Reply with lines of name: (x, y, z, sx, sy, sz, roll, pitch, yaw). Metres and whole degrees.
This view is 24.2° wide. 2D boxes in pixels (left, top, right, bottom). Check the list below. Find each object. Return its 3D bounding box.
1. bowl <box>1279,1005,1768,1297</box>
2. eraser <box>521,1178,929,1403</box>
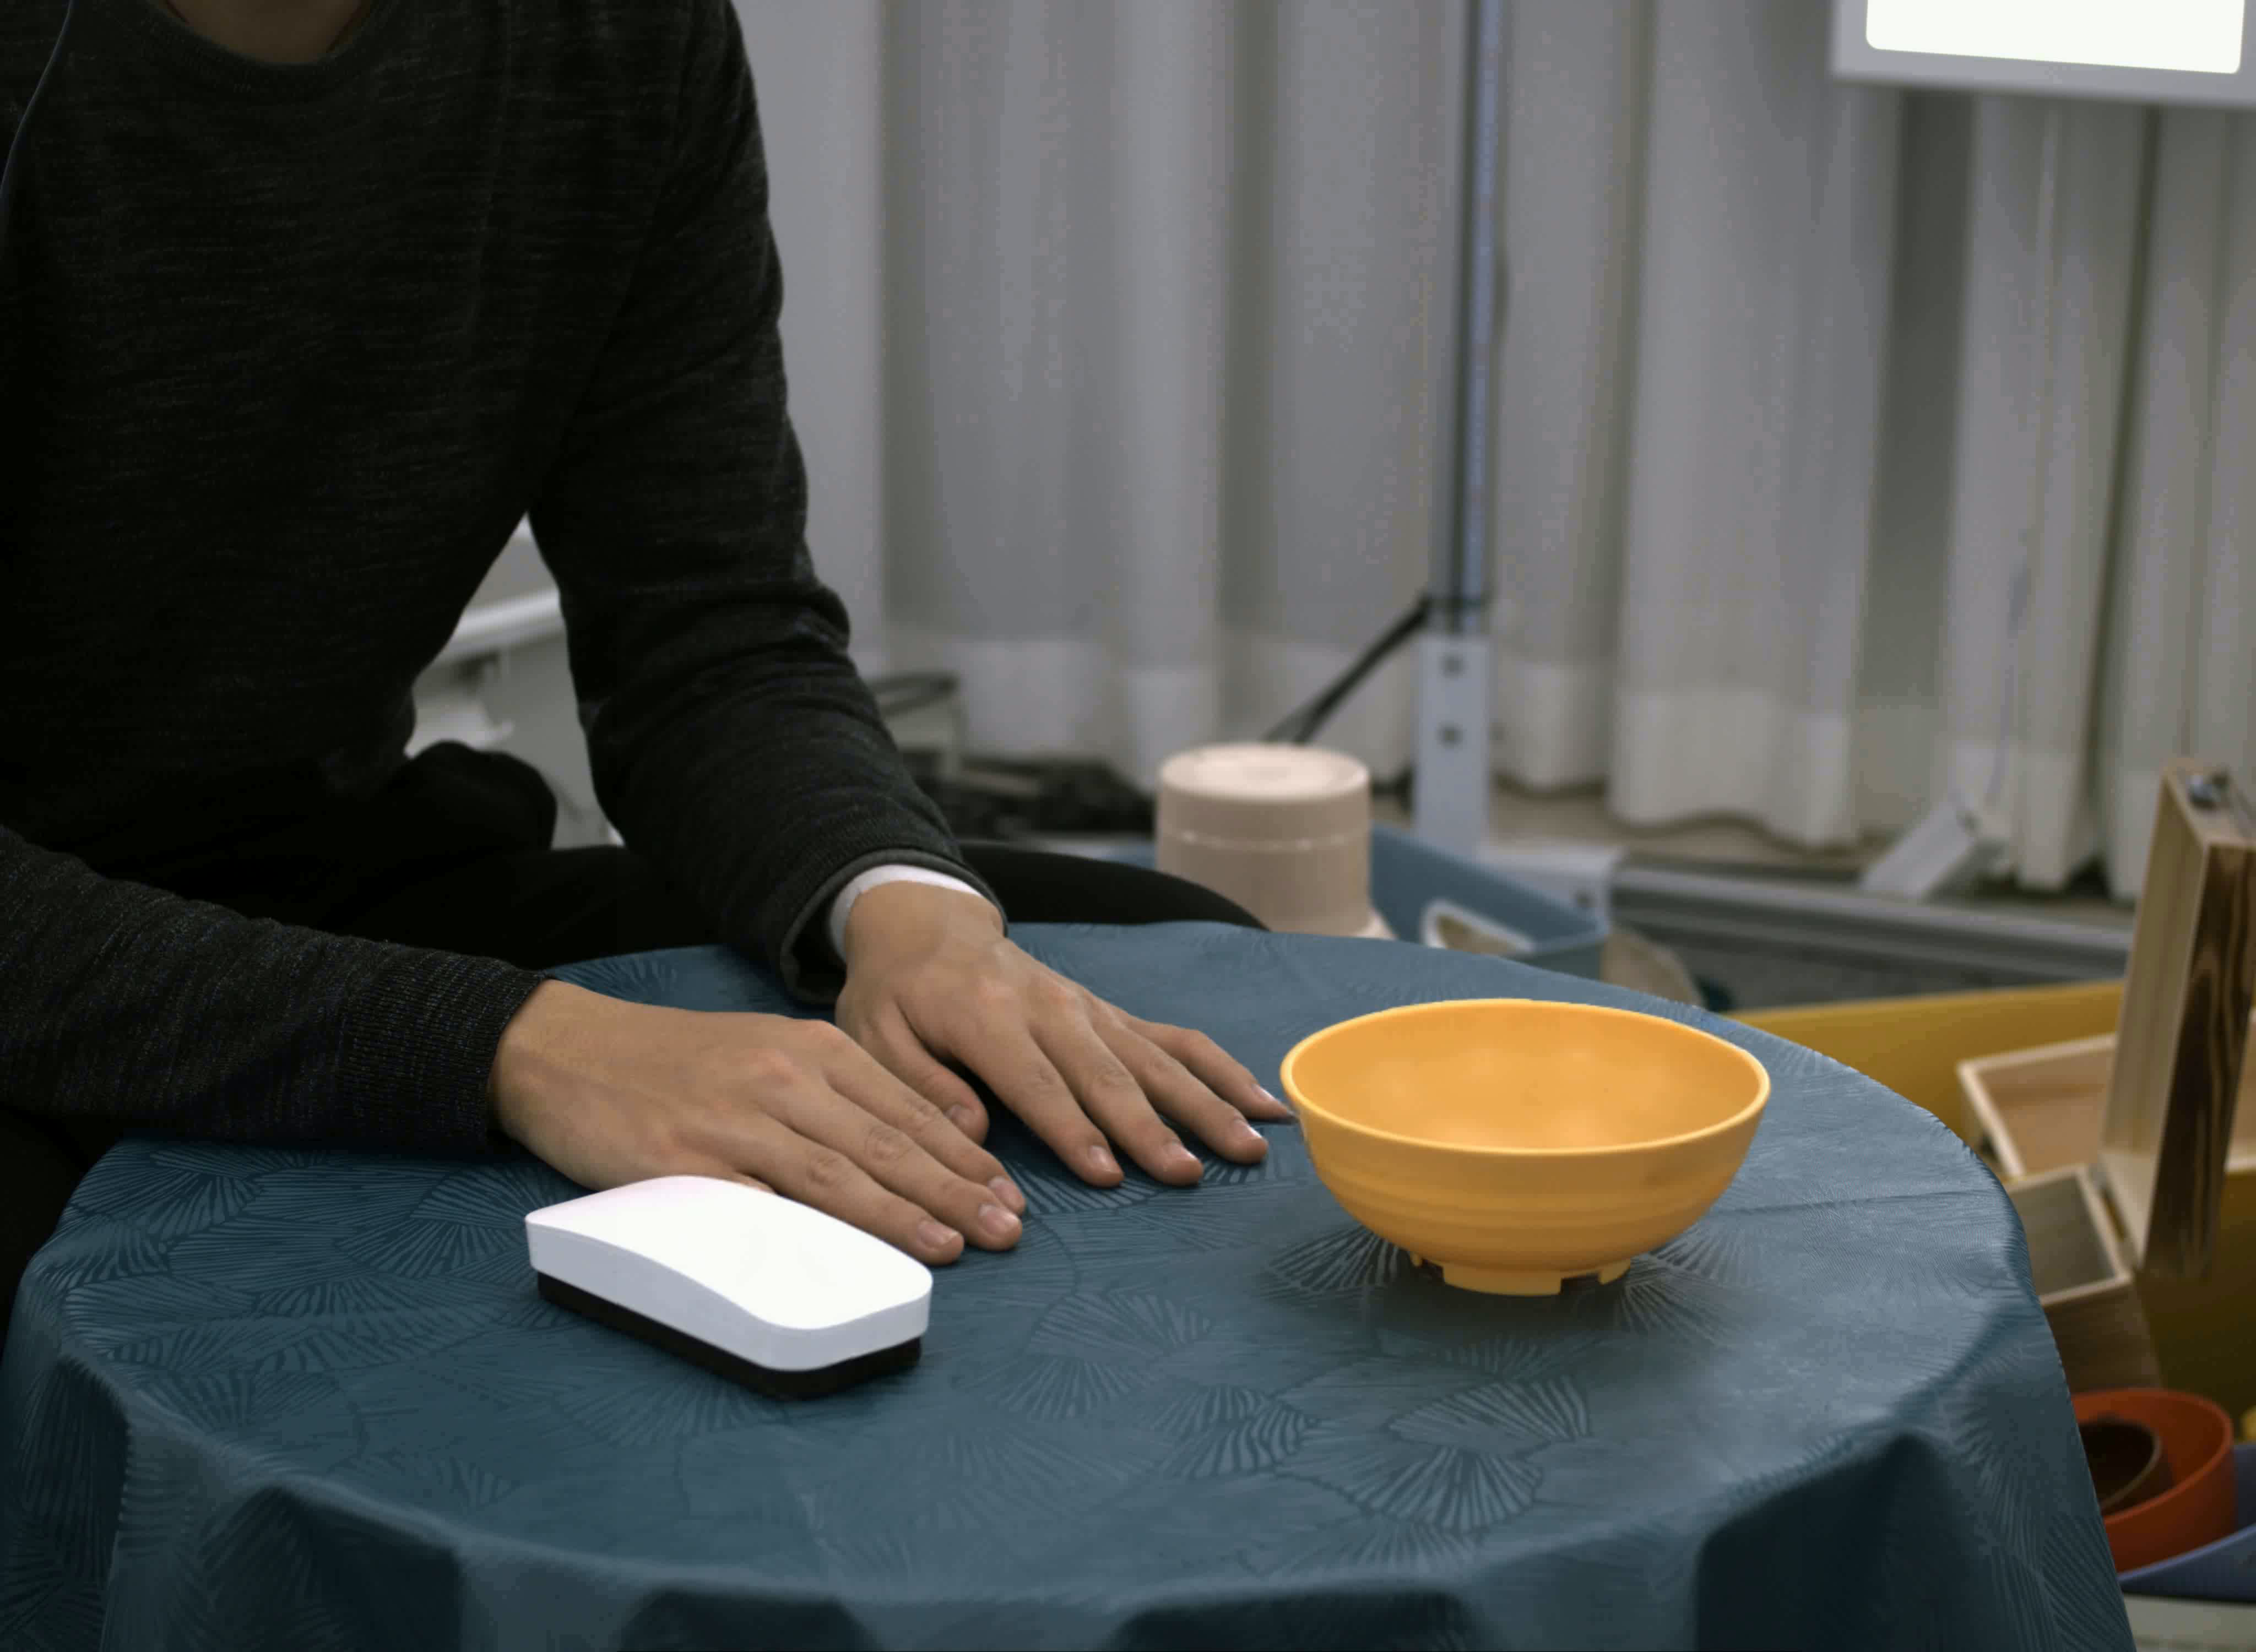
bowl: (0.115, 0.100, 1.558, 0.145, 0.060, 0.144, 2, 14, 0)
eraser: (-0.115, 0.128, 1.502, 0.064, 0.035, 0.129, -12, 21, -41)
